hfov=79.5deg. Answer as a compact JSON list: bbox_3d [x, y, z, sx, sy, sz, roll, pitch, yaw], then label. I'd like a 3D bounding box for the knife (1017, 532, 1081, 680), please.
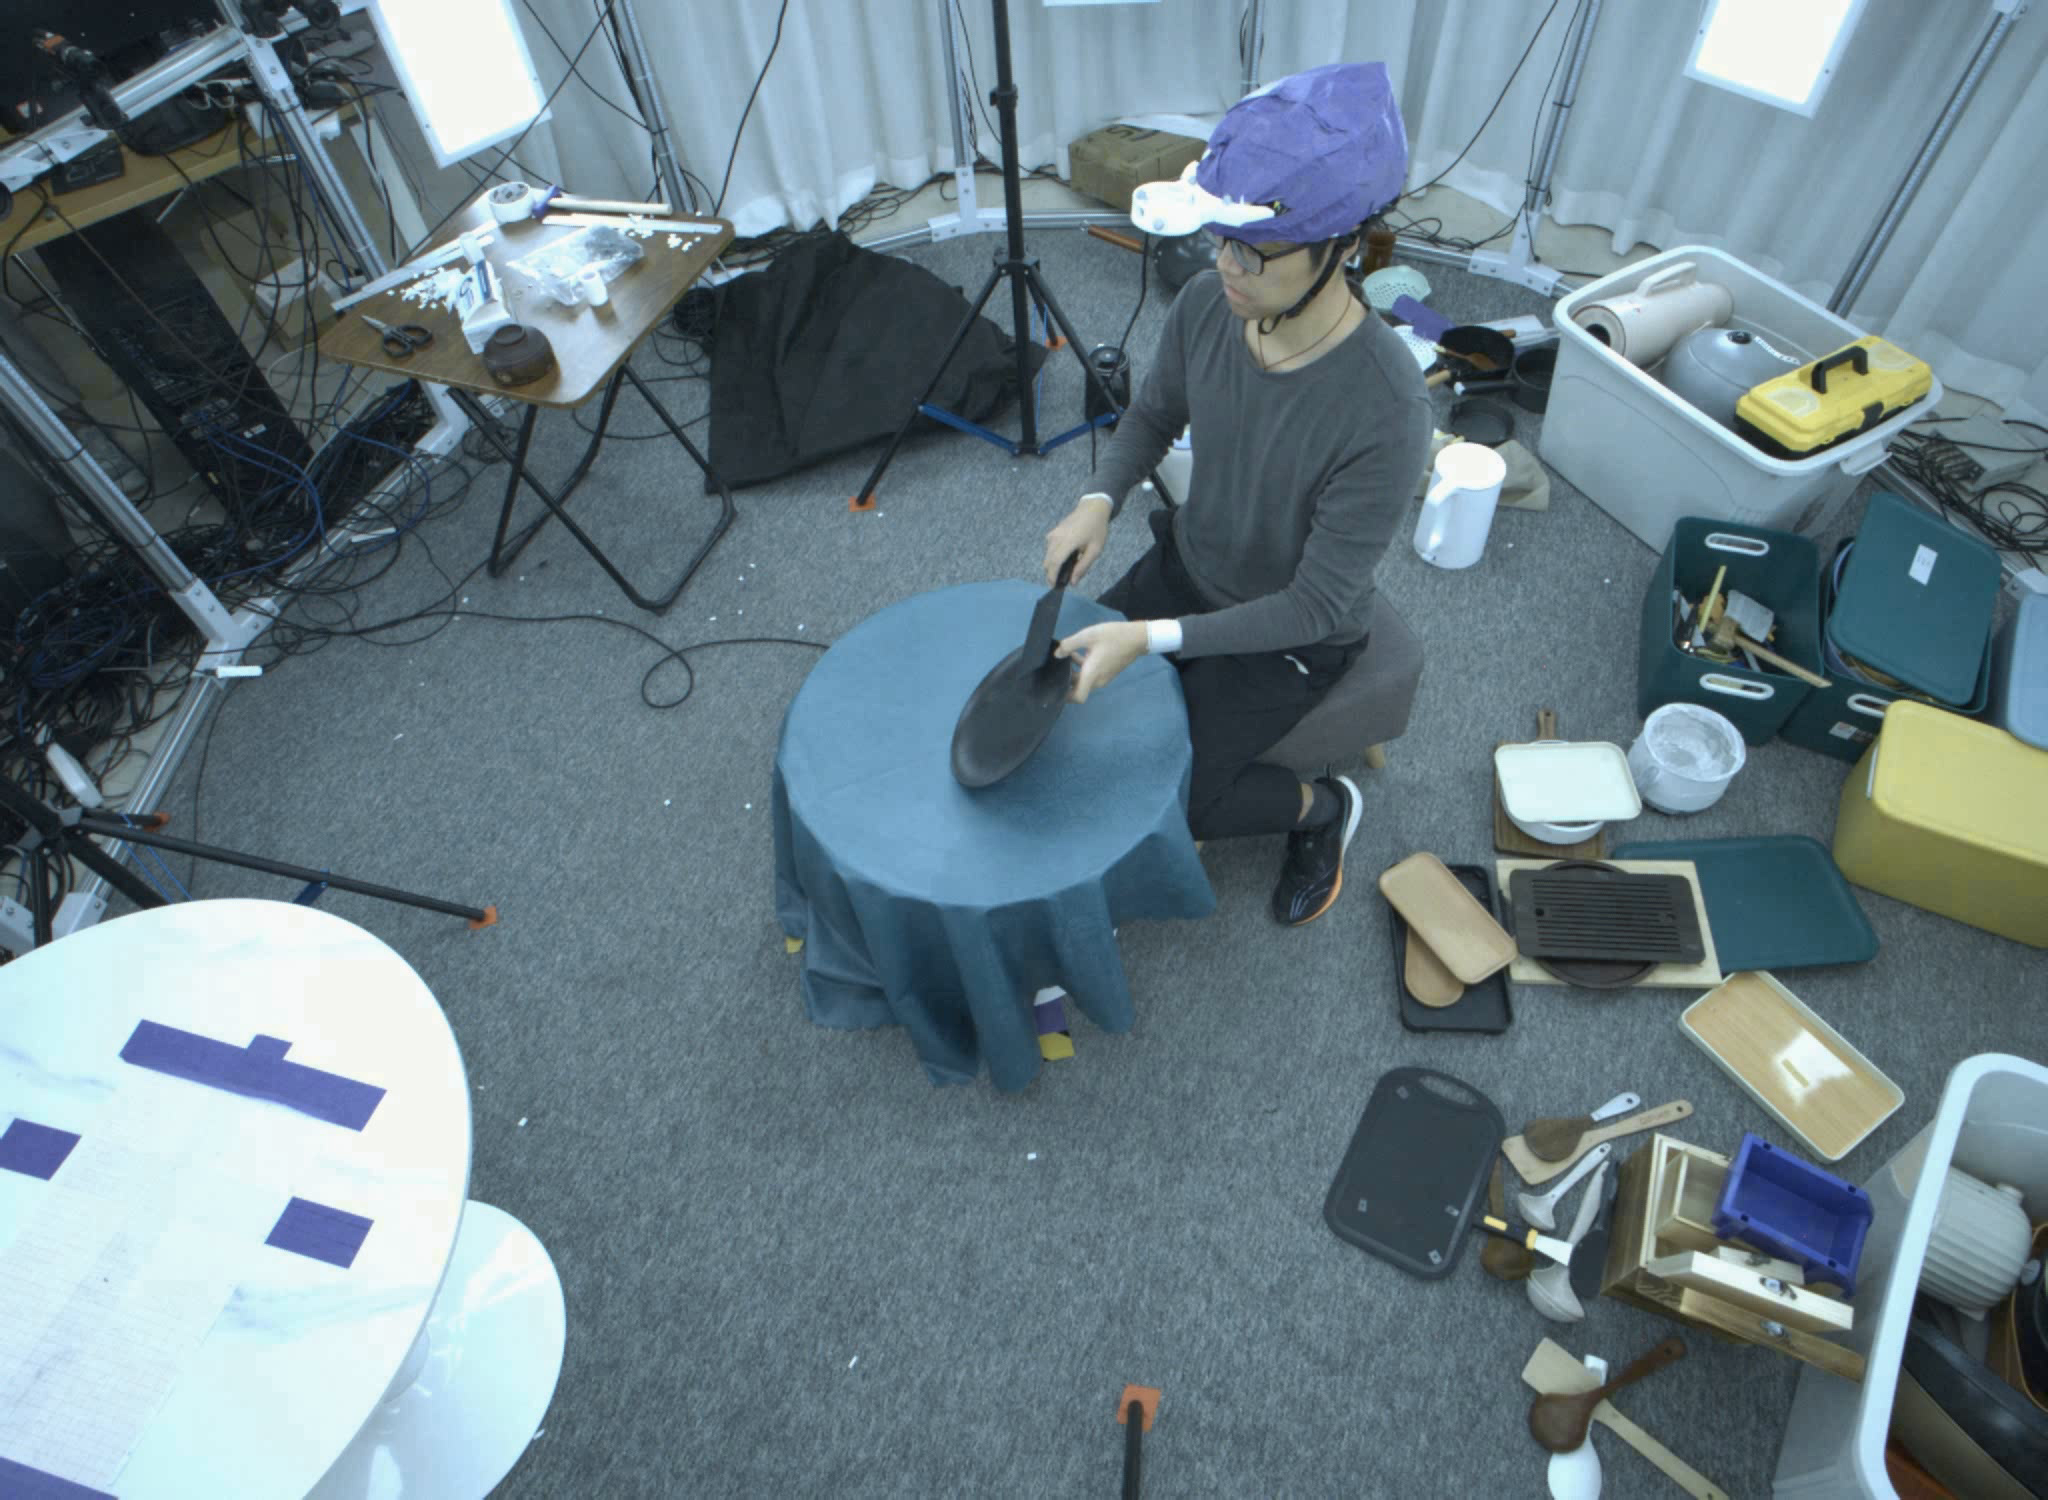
[{"bbox_3d":[0.039,-0.220,1.816,0.021,0.080,0.301,38,48,-25],"label":"knife"}]

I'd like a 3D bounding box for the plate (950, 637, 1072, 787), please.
[{"bbox_3d":[-0.015,-0.051,1.739,0.241,0.024,0.242,-32,38,32],"label":"plate"}]
